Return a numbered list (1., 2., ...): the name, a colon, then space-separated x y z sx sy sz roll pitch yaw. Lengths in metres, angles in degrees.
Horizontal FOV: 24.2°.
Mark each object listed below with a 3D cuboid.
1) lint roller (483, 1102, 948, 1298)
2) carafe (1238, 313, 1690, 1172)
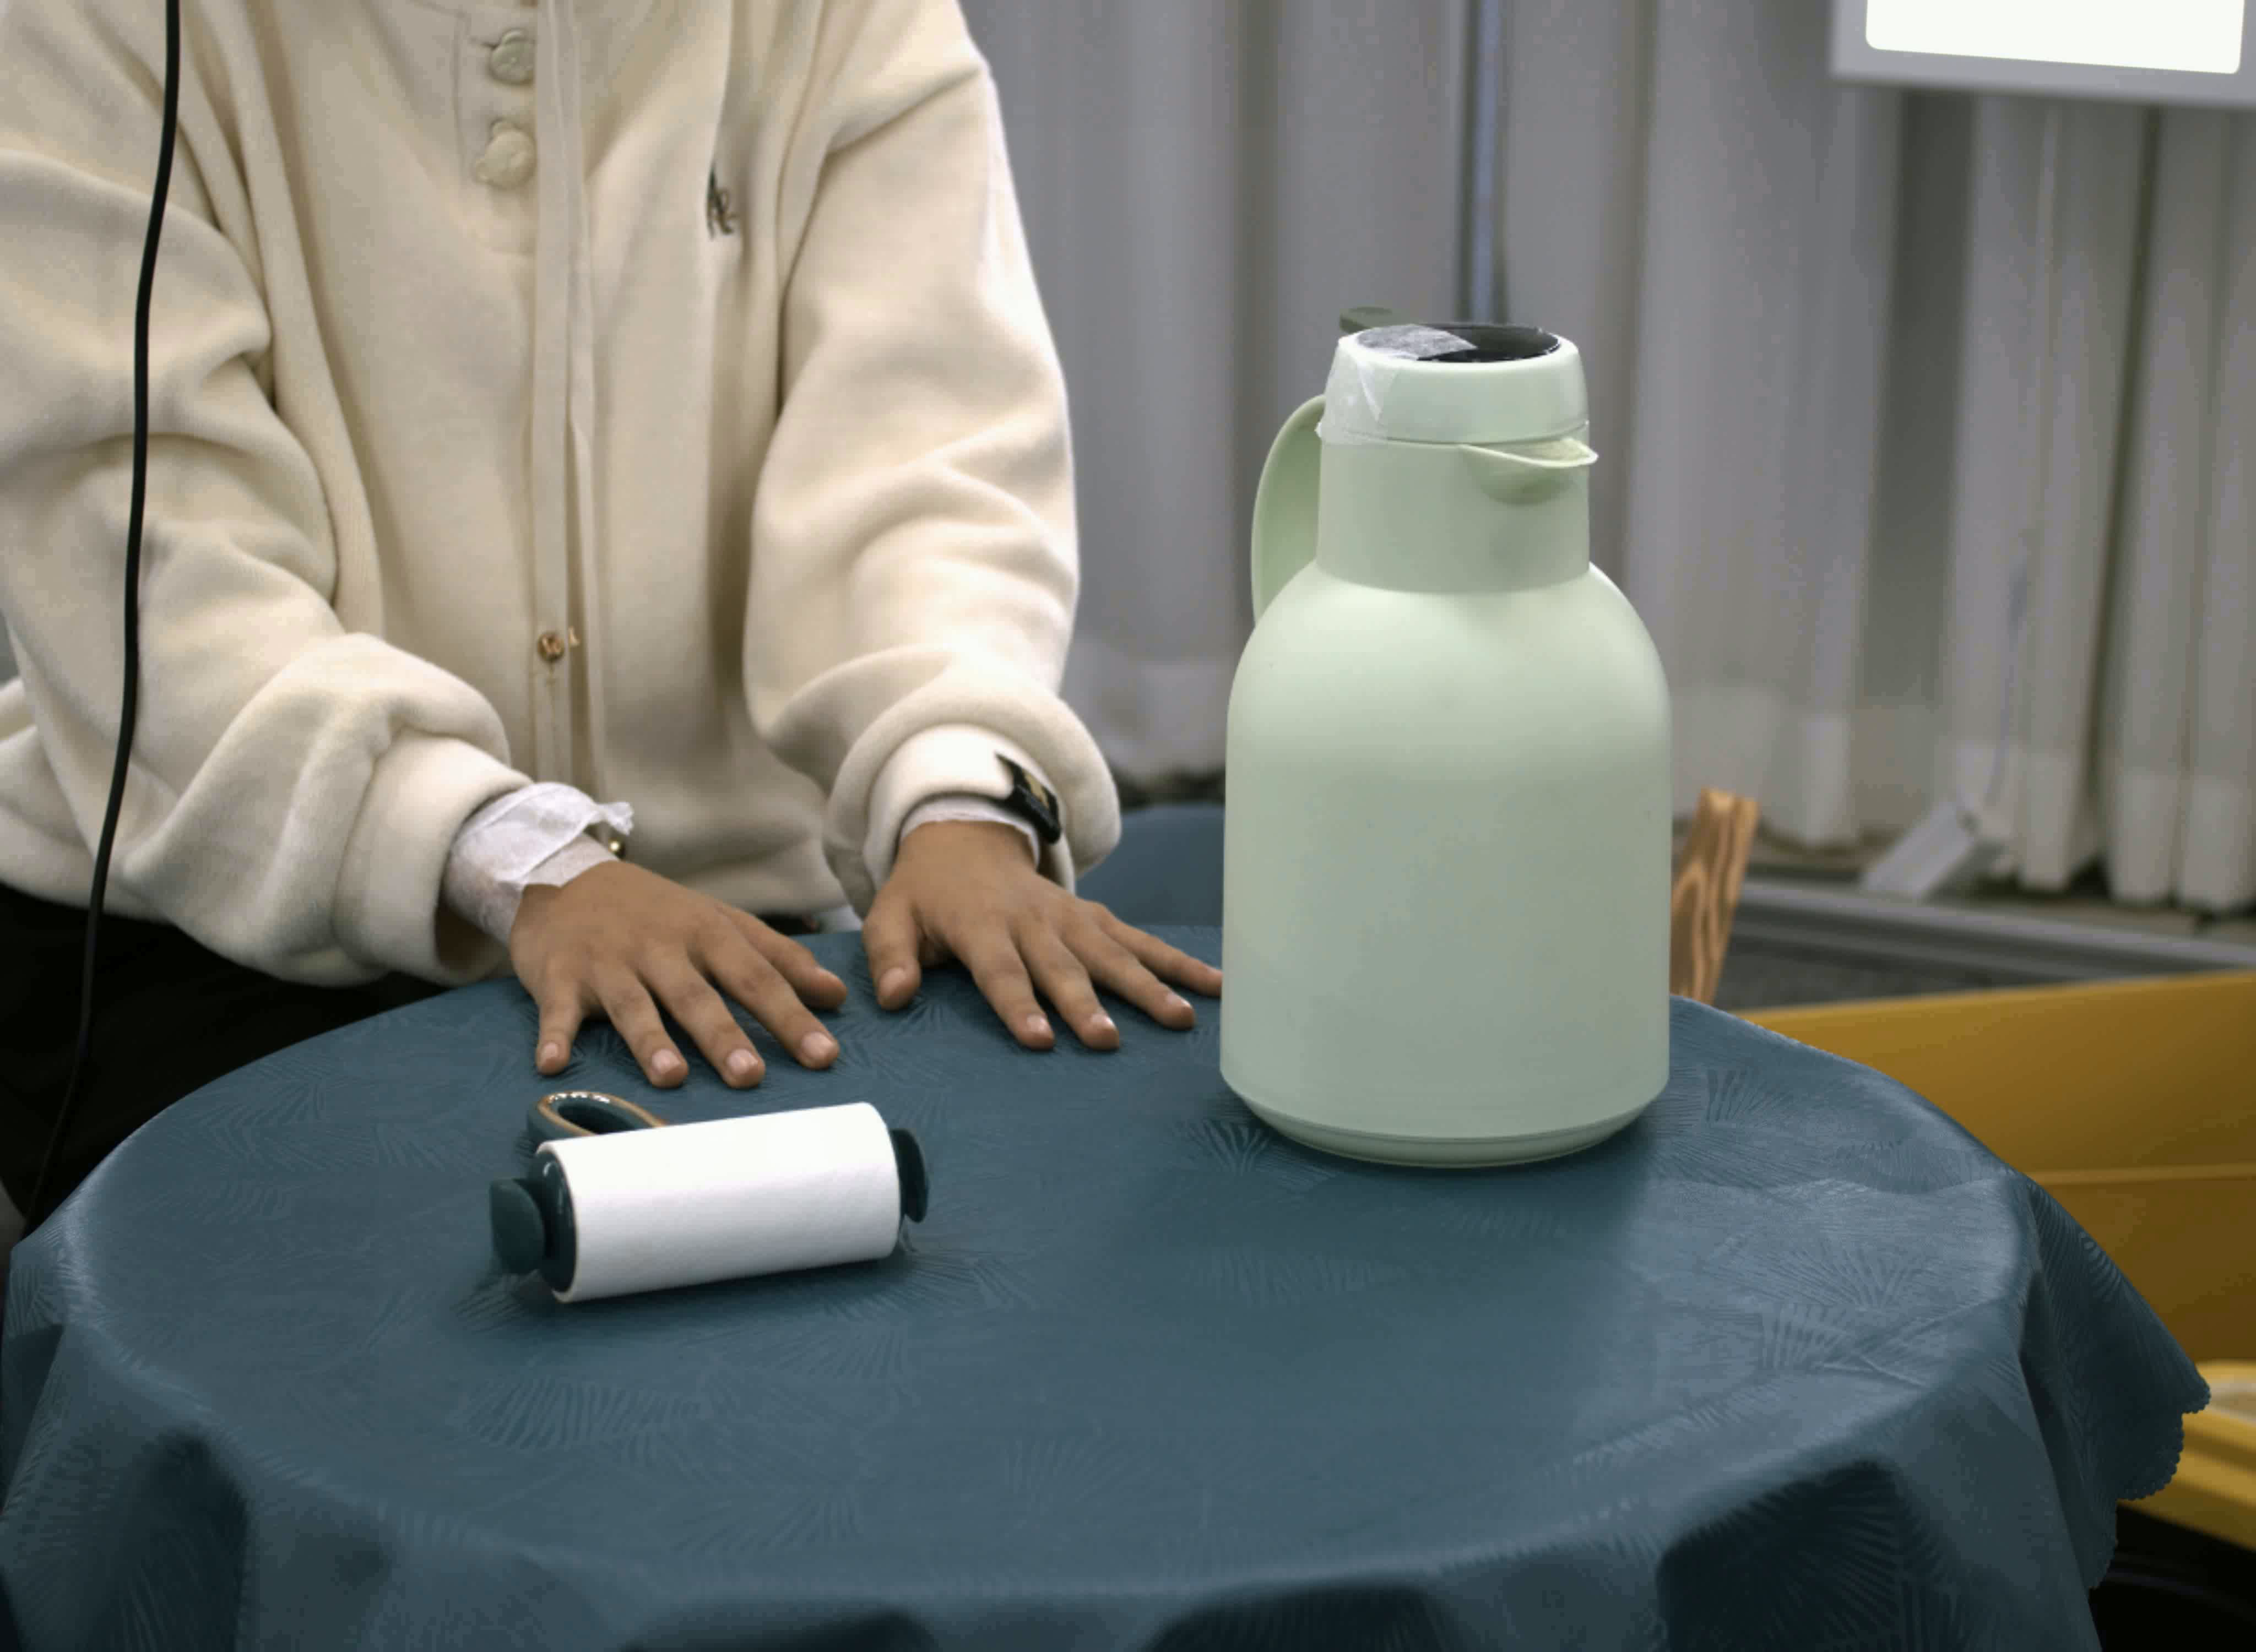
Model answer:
1. lint roller: -0.146 0.093 1.597 0.135 0.049 0.178 -5 17 -22
2. carafe: 0.098 -0.032 1.677 0.145 0.259 0.184 -10 15 -25
